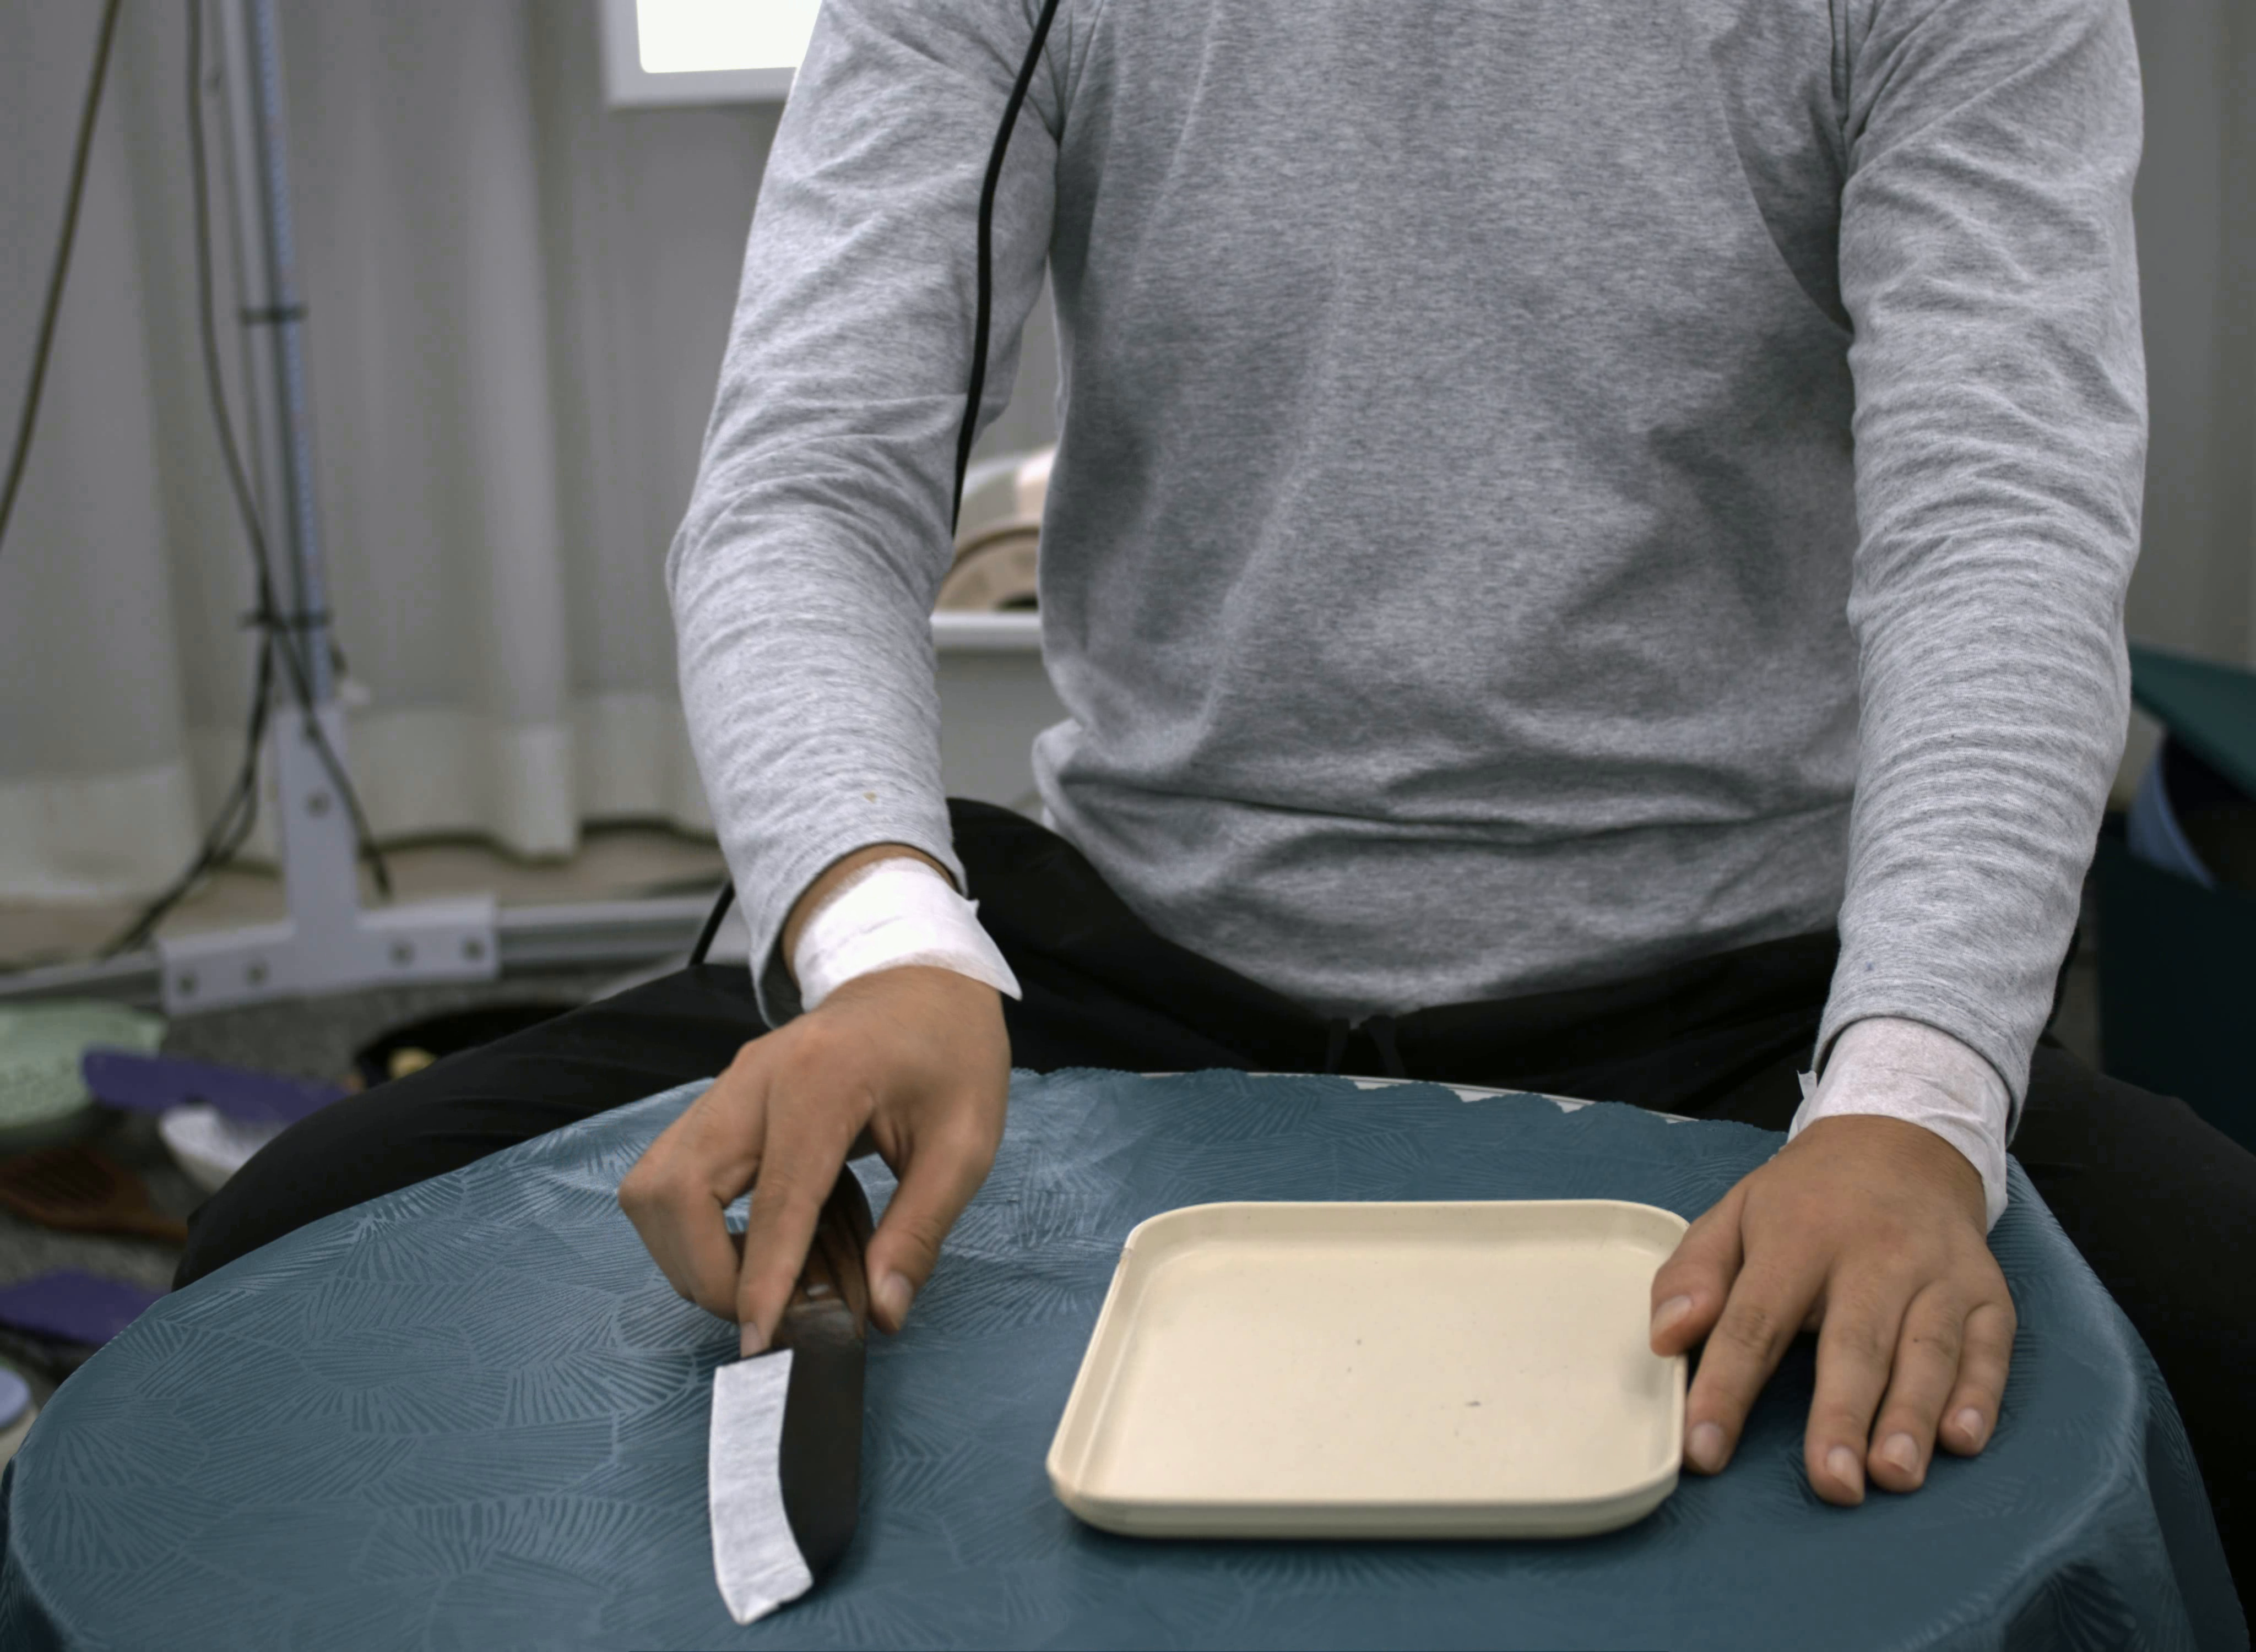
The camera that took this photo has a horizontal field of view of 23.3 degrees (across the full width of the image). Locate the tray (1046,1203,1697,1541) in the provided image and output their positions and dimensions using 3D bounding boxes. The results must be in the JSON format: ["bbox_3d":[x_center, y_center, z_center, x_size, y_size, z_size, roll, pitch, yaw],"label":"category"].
[{"bbox_3d":[0.073,0.152,1.532,0.171,0.017,0.241,0,15,8],"label":"tray"}]

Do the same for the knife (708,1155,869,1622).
[{"bbox_3d":[-0.094,0.156,1.532,0.050,0.020,0.291,-15,18,5],"label":"knife"}]
